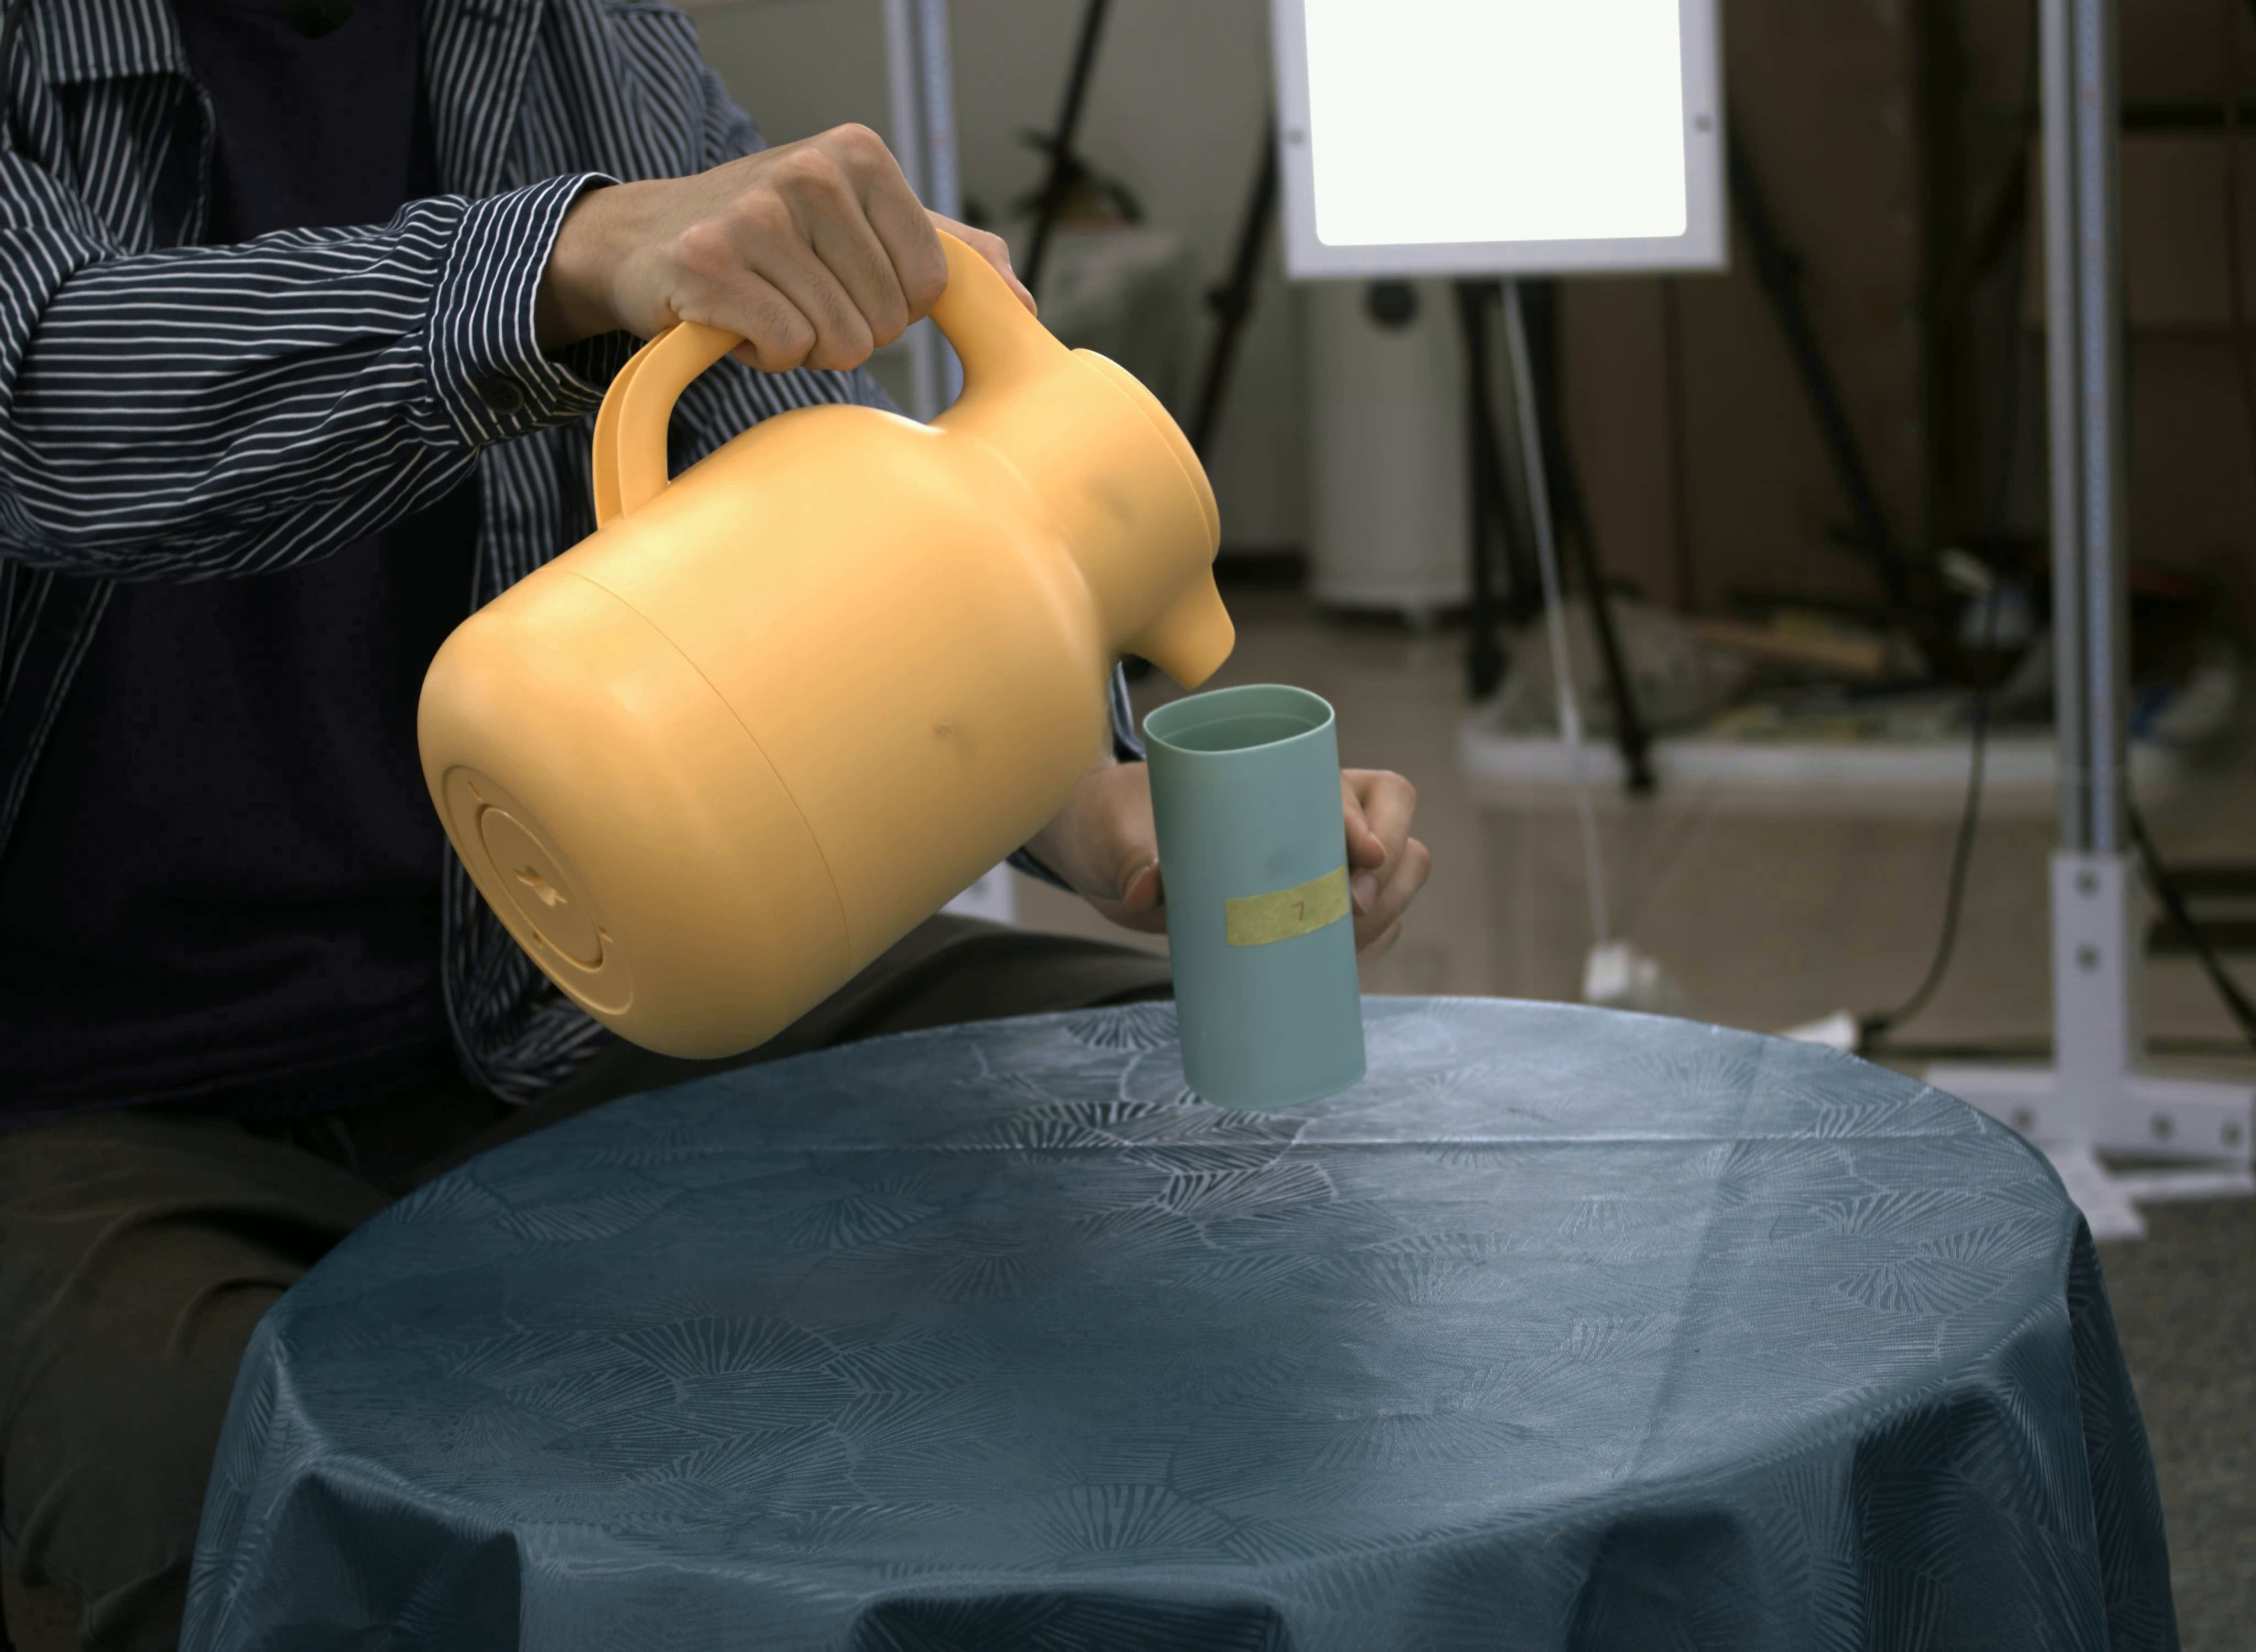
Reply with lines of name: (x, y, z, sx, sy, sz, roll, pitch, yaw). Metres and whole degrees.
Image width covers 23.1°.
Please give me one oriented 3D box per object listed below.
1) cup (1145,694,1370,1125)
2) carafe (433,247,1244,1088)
cup: (0.044, 0.027, 1.858, 0.066, 0.133, 0.066, -7, 21, 1)
carafe: (-0.096, -0.059, 1.767, 0.256, 0.202, 0.166, -37, 11, -21)
